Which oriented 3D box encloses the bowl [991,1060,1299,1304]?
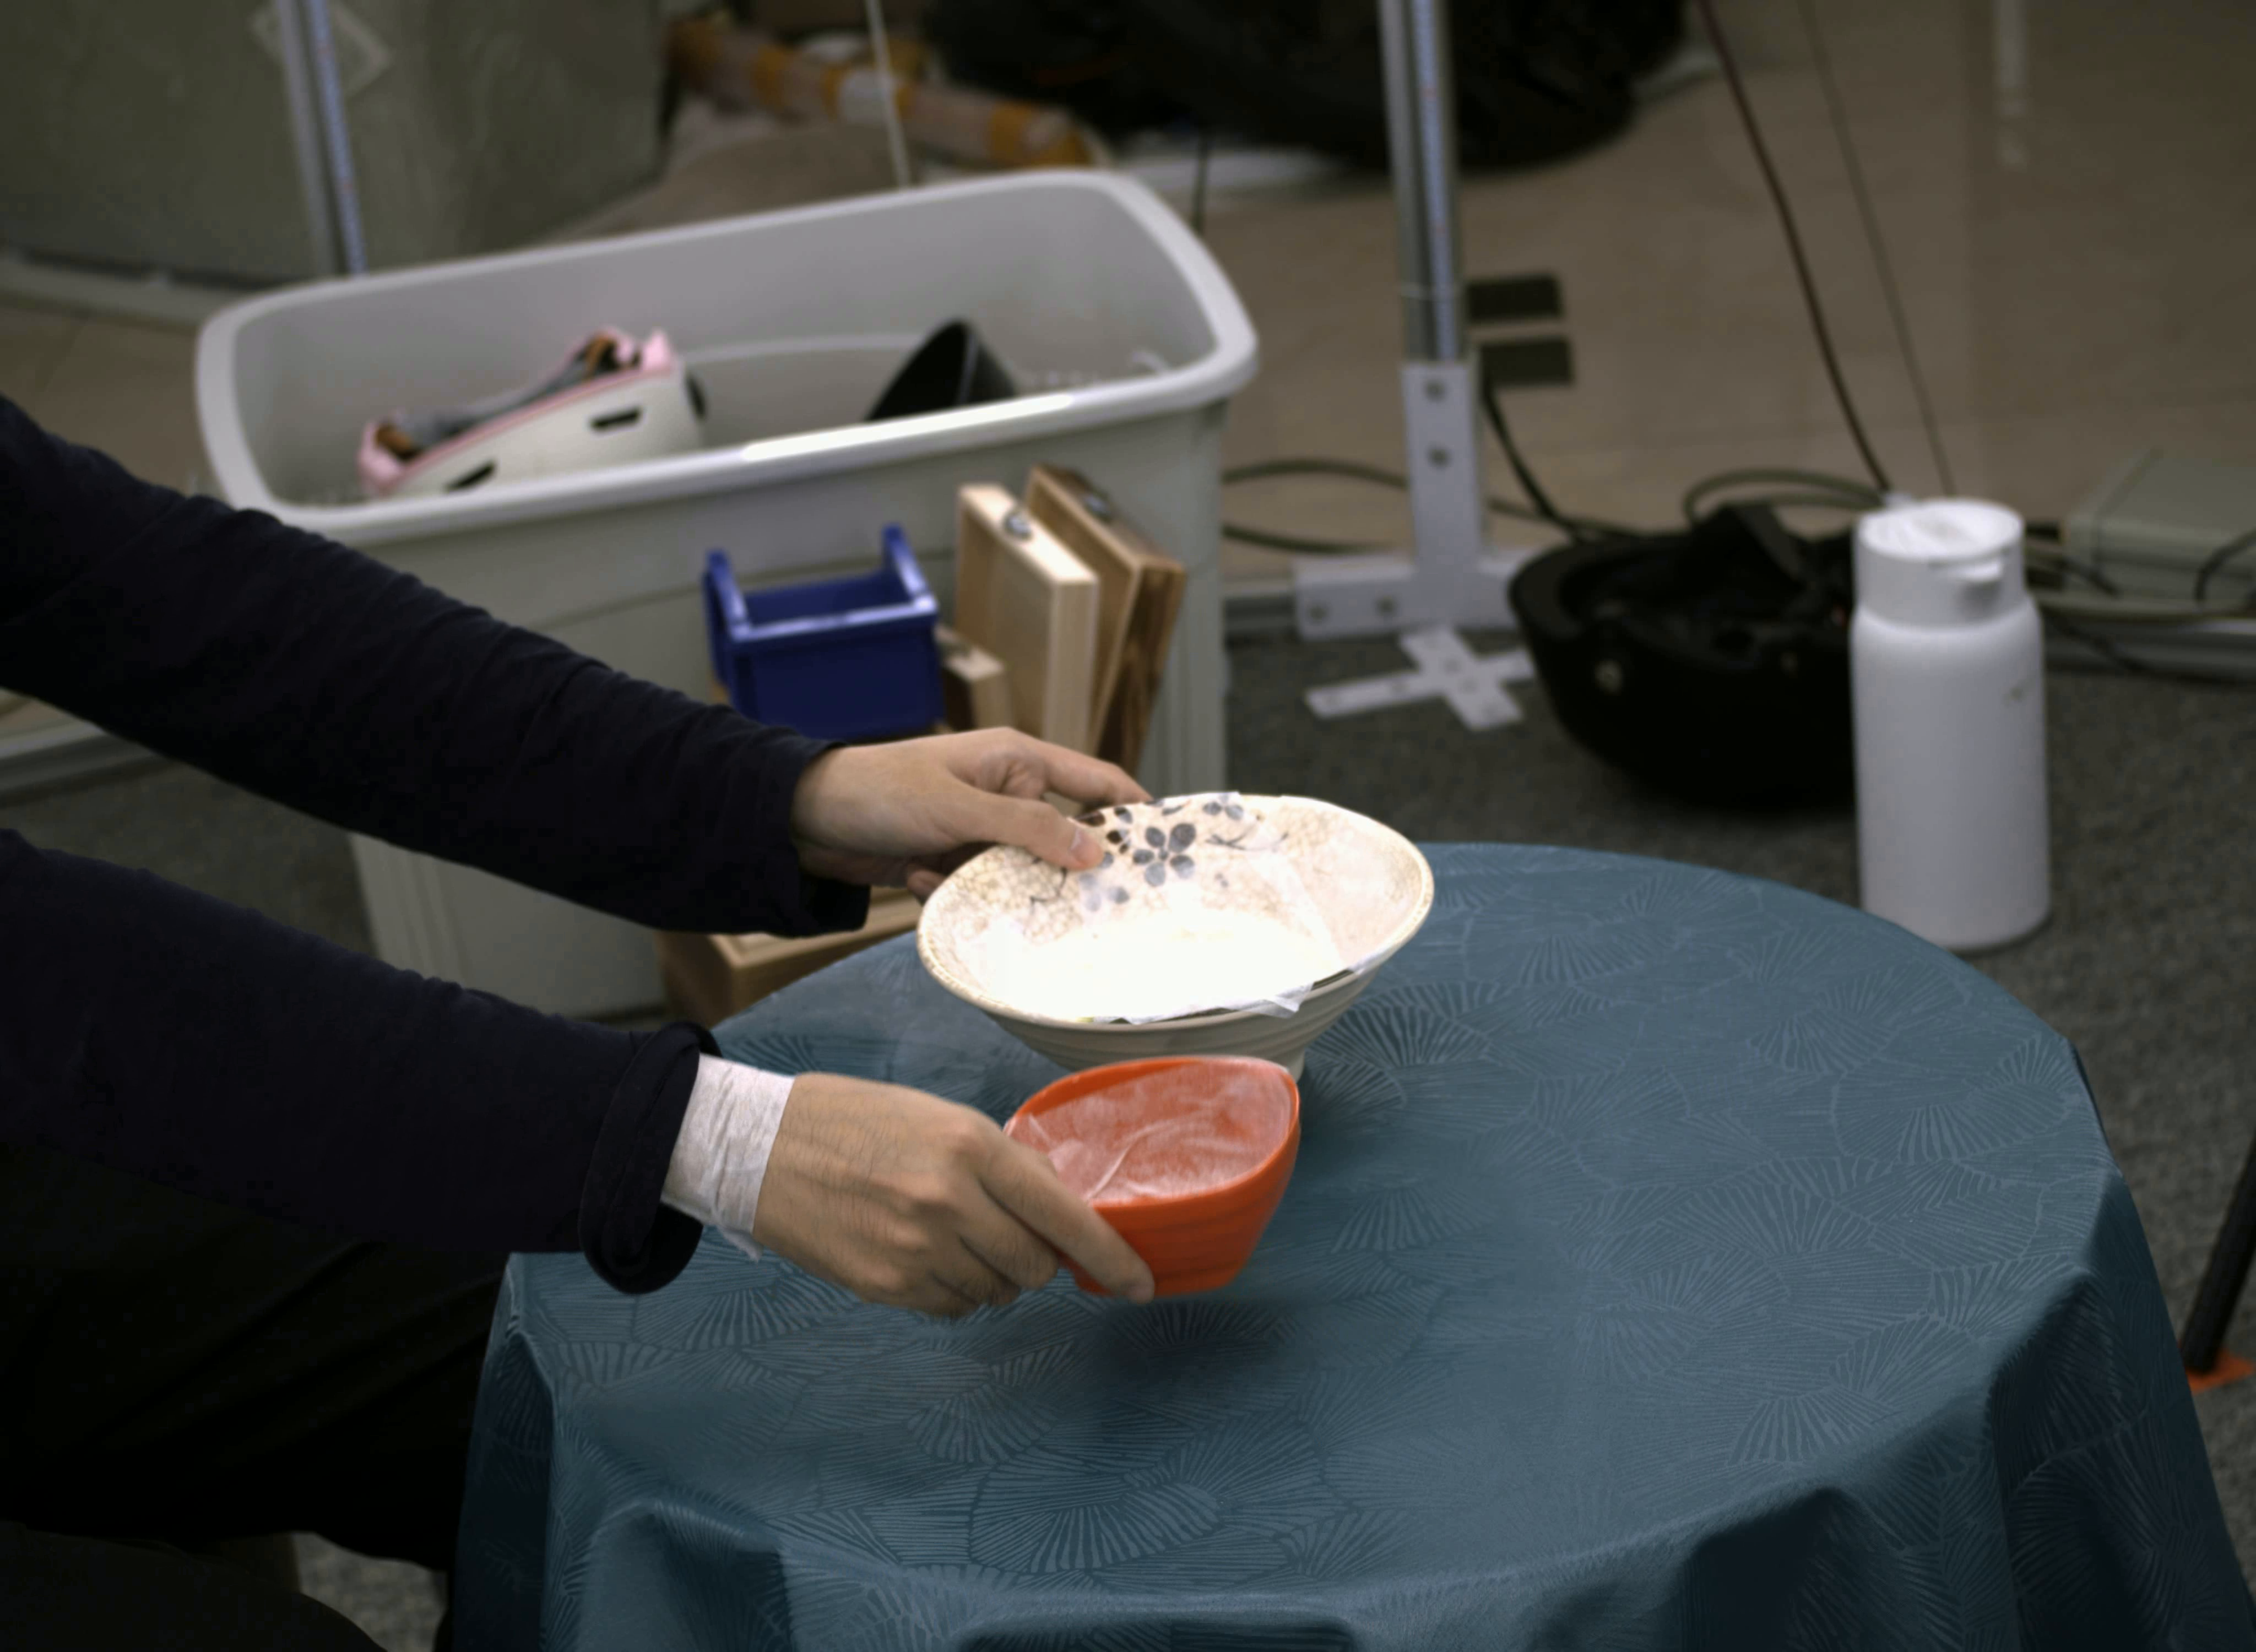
[{"bbox_3d":[0.009,0.132,2.034,0.119,0.052,0.117,-7,27,4],"label":"bowl"}]

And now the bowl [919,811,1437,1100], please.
[{"bbox_3d":[0.024,0.067,2.212,0.204,0.079,0.201,-7,22,3],"label":"bowl"}]
